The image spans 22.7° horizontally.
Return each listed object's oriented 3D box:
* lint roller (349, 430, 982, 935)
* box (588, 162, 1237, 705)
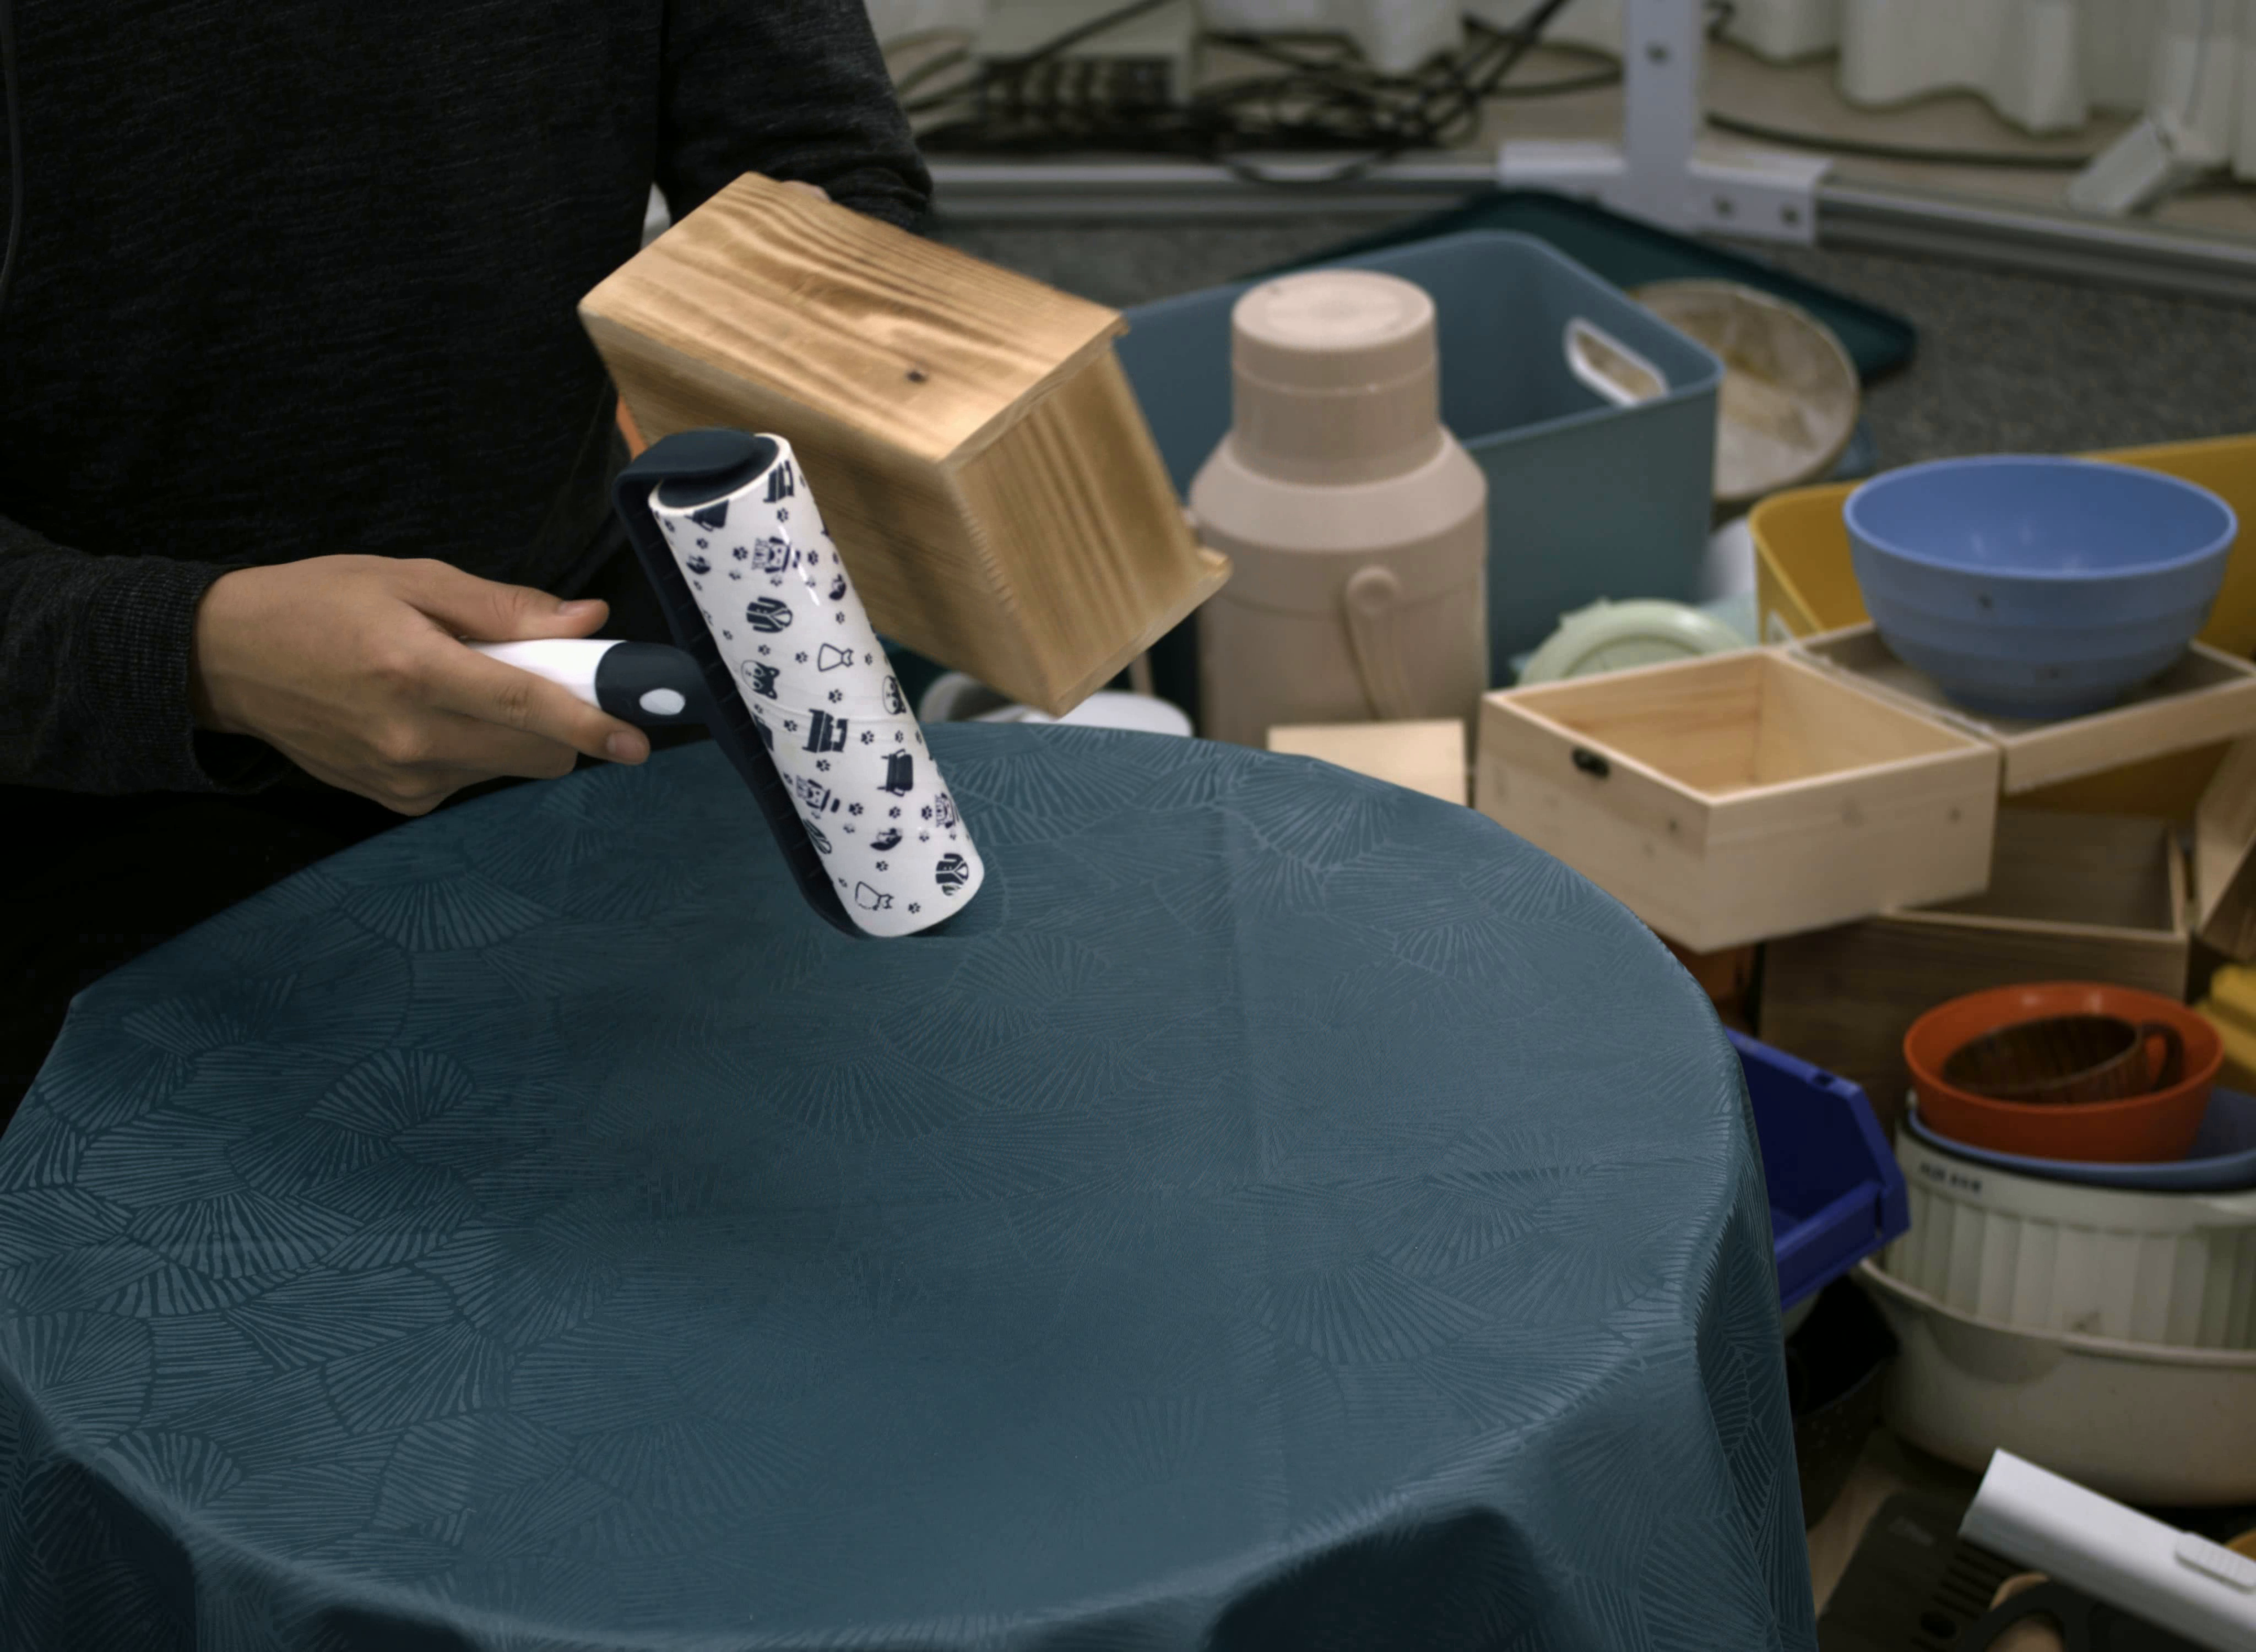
[{"bbox_3d":[-0.171,-0.042,1.823,0.244,0.175,0.051,-2,33,41],"label":"lint roller"},{"bbox_3d":[-0.072,-0.130,1.831,0.081,0.106,0.211,-39,37,-21],"label":"box"}]
